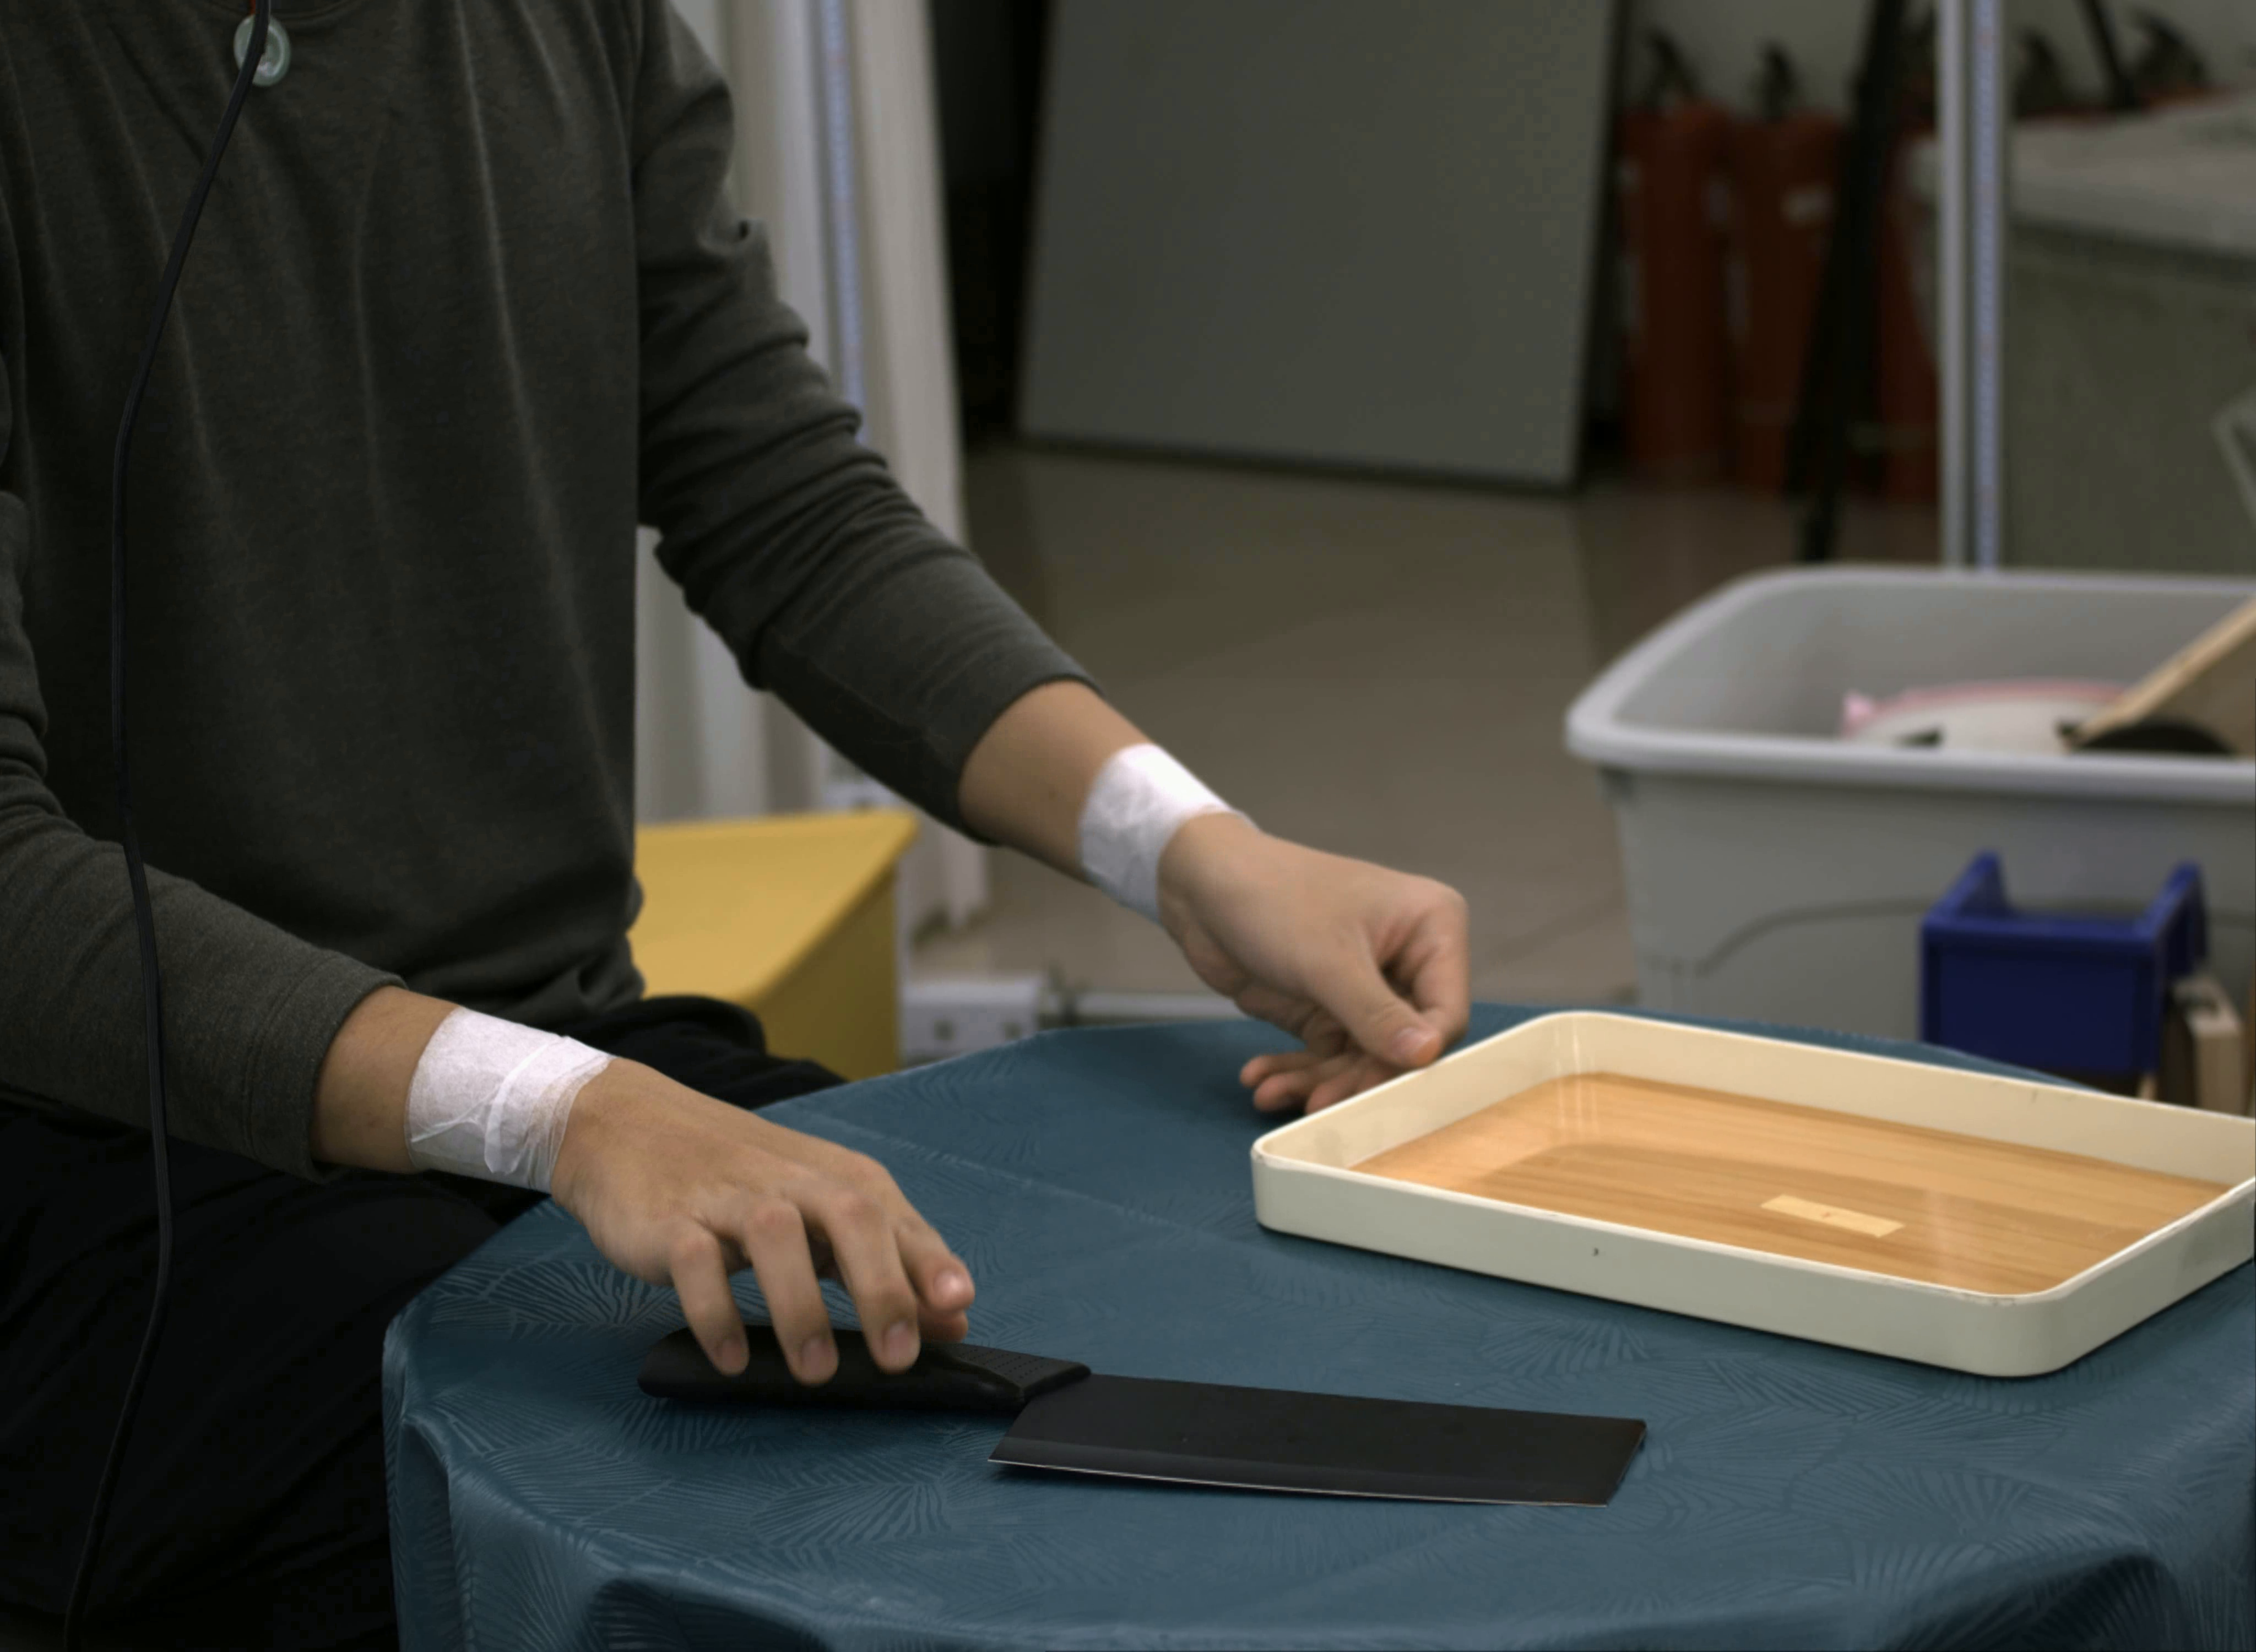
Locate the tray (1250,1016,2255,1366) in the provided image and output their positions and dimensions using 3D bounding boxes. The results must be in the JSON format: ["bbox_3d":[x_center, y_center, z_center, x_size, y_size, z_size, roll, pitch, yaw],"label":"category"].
[{"bbox_3d":[0.205,0.111,1.697,0.303,0.028,0.188,7,17,41],"label":"tray"}]

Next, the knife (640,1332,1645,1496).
[{"bbox_3d":[0.000,0.170,1.546,0.302,0.021,0.080,3,17,23],"label":"knife"}]
